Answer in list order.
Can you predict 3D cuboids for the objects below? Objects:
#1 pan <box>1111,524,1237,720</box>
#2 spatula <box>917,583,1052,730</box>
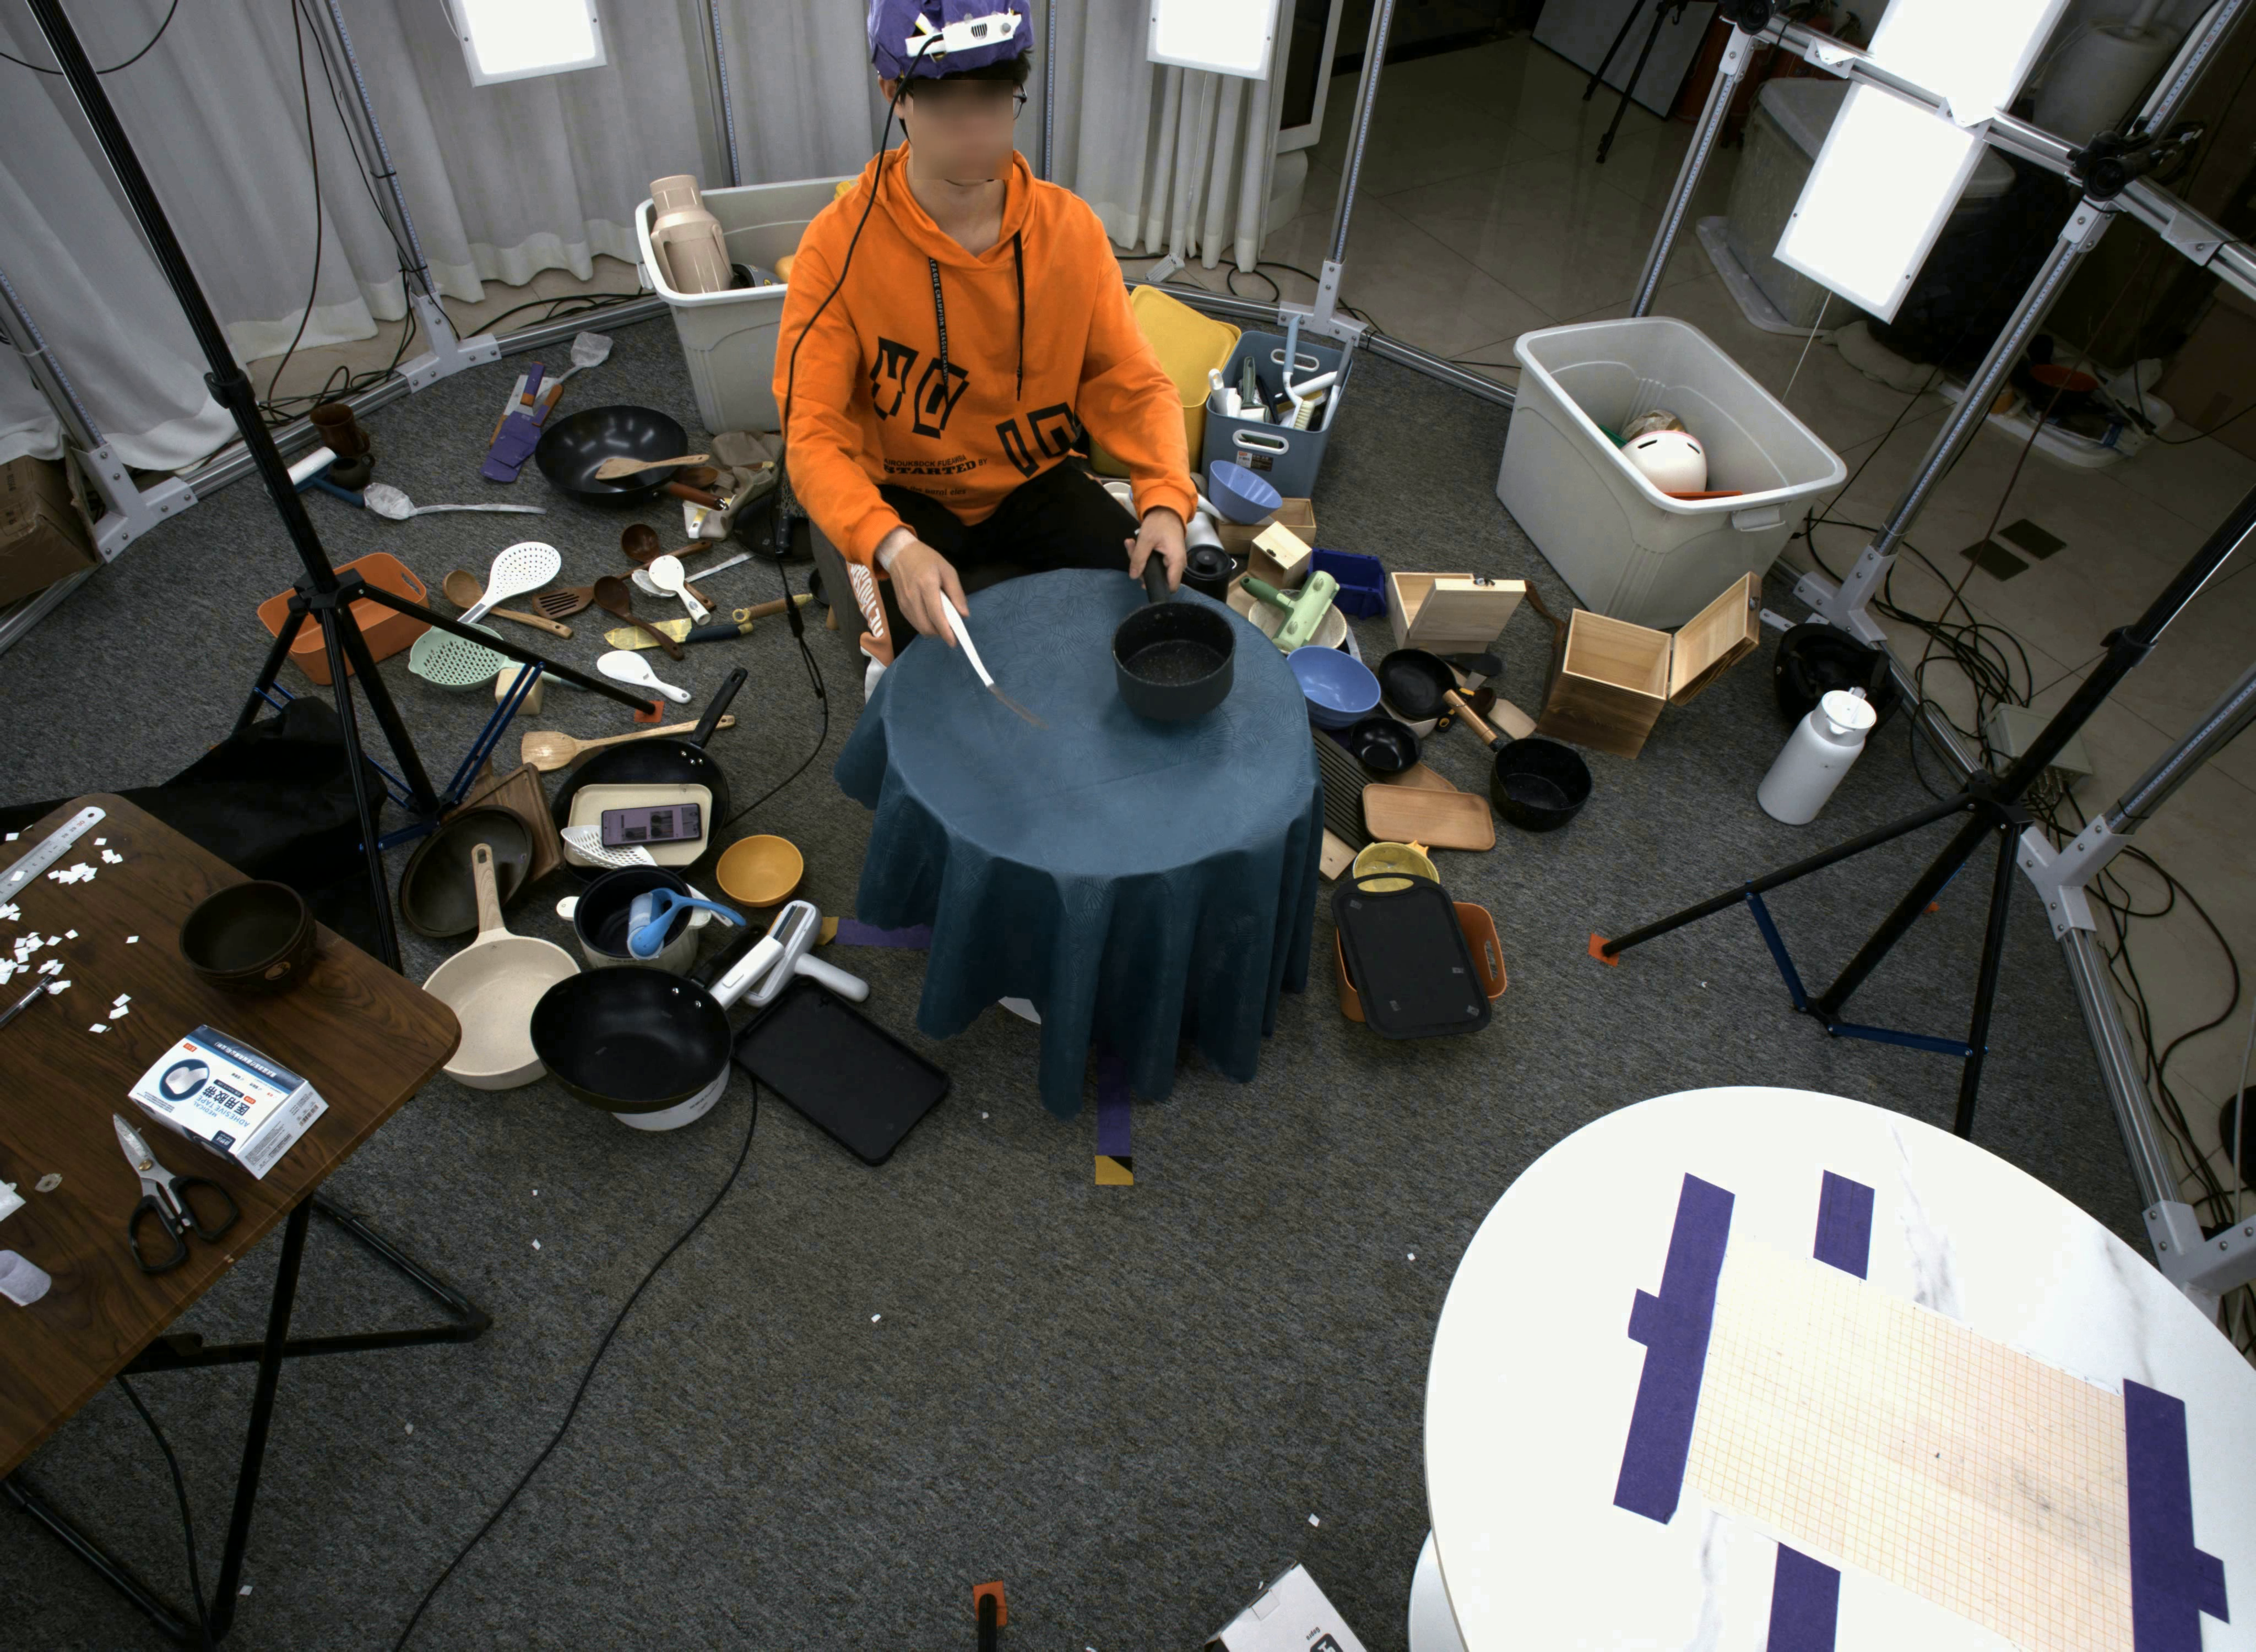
[{"bbox_3d":[0.055,-0.292,1.829,0.172,0.084,0.337,-7,51,-2],"label":"pan"},{"bbox_3d":[-0.194,-0.219,1.690,0.032,0.058,0.293,-46,60,13],"label":"spatula"}]
